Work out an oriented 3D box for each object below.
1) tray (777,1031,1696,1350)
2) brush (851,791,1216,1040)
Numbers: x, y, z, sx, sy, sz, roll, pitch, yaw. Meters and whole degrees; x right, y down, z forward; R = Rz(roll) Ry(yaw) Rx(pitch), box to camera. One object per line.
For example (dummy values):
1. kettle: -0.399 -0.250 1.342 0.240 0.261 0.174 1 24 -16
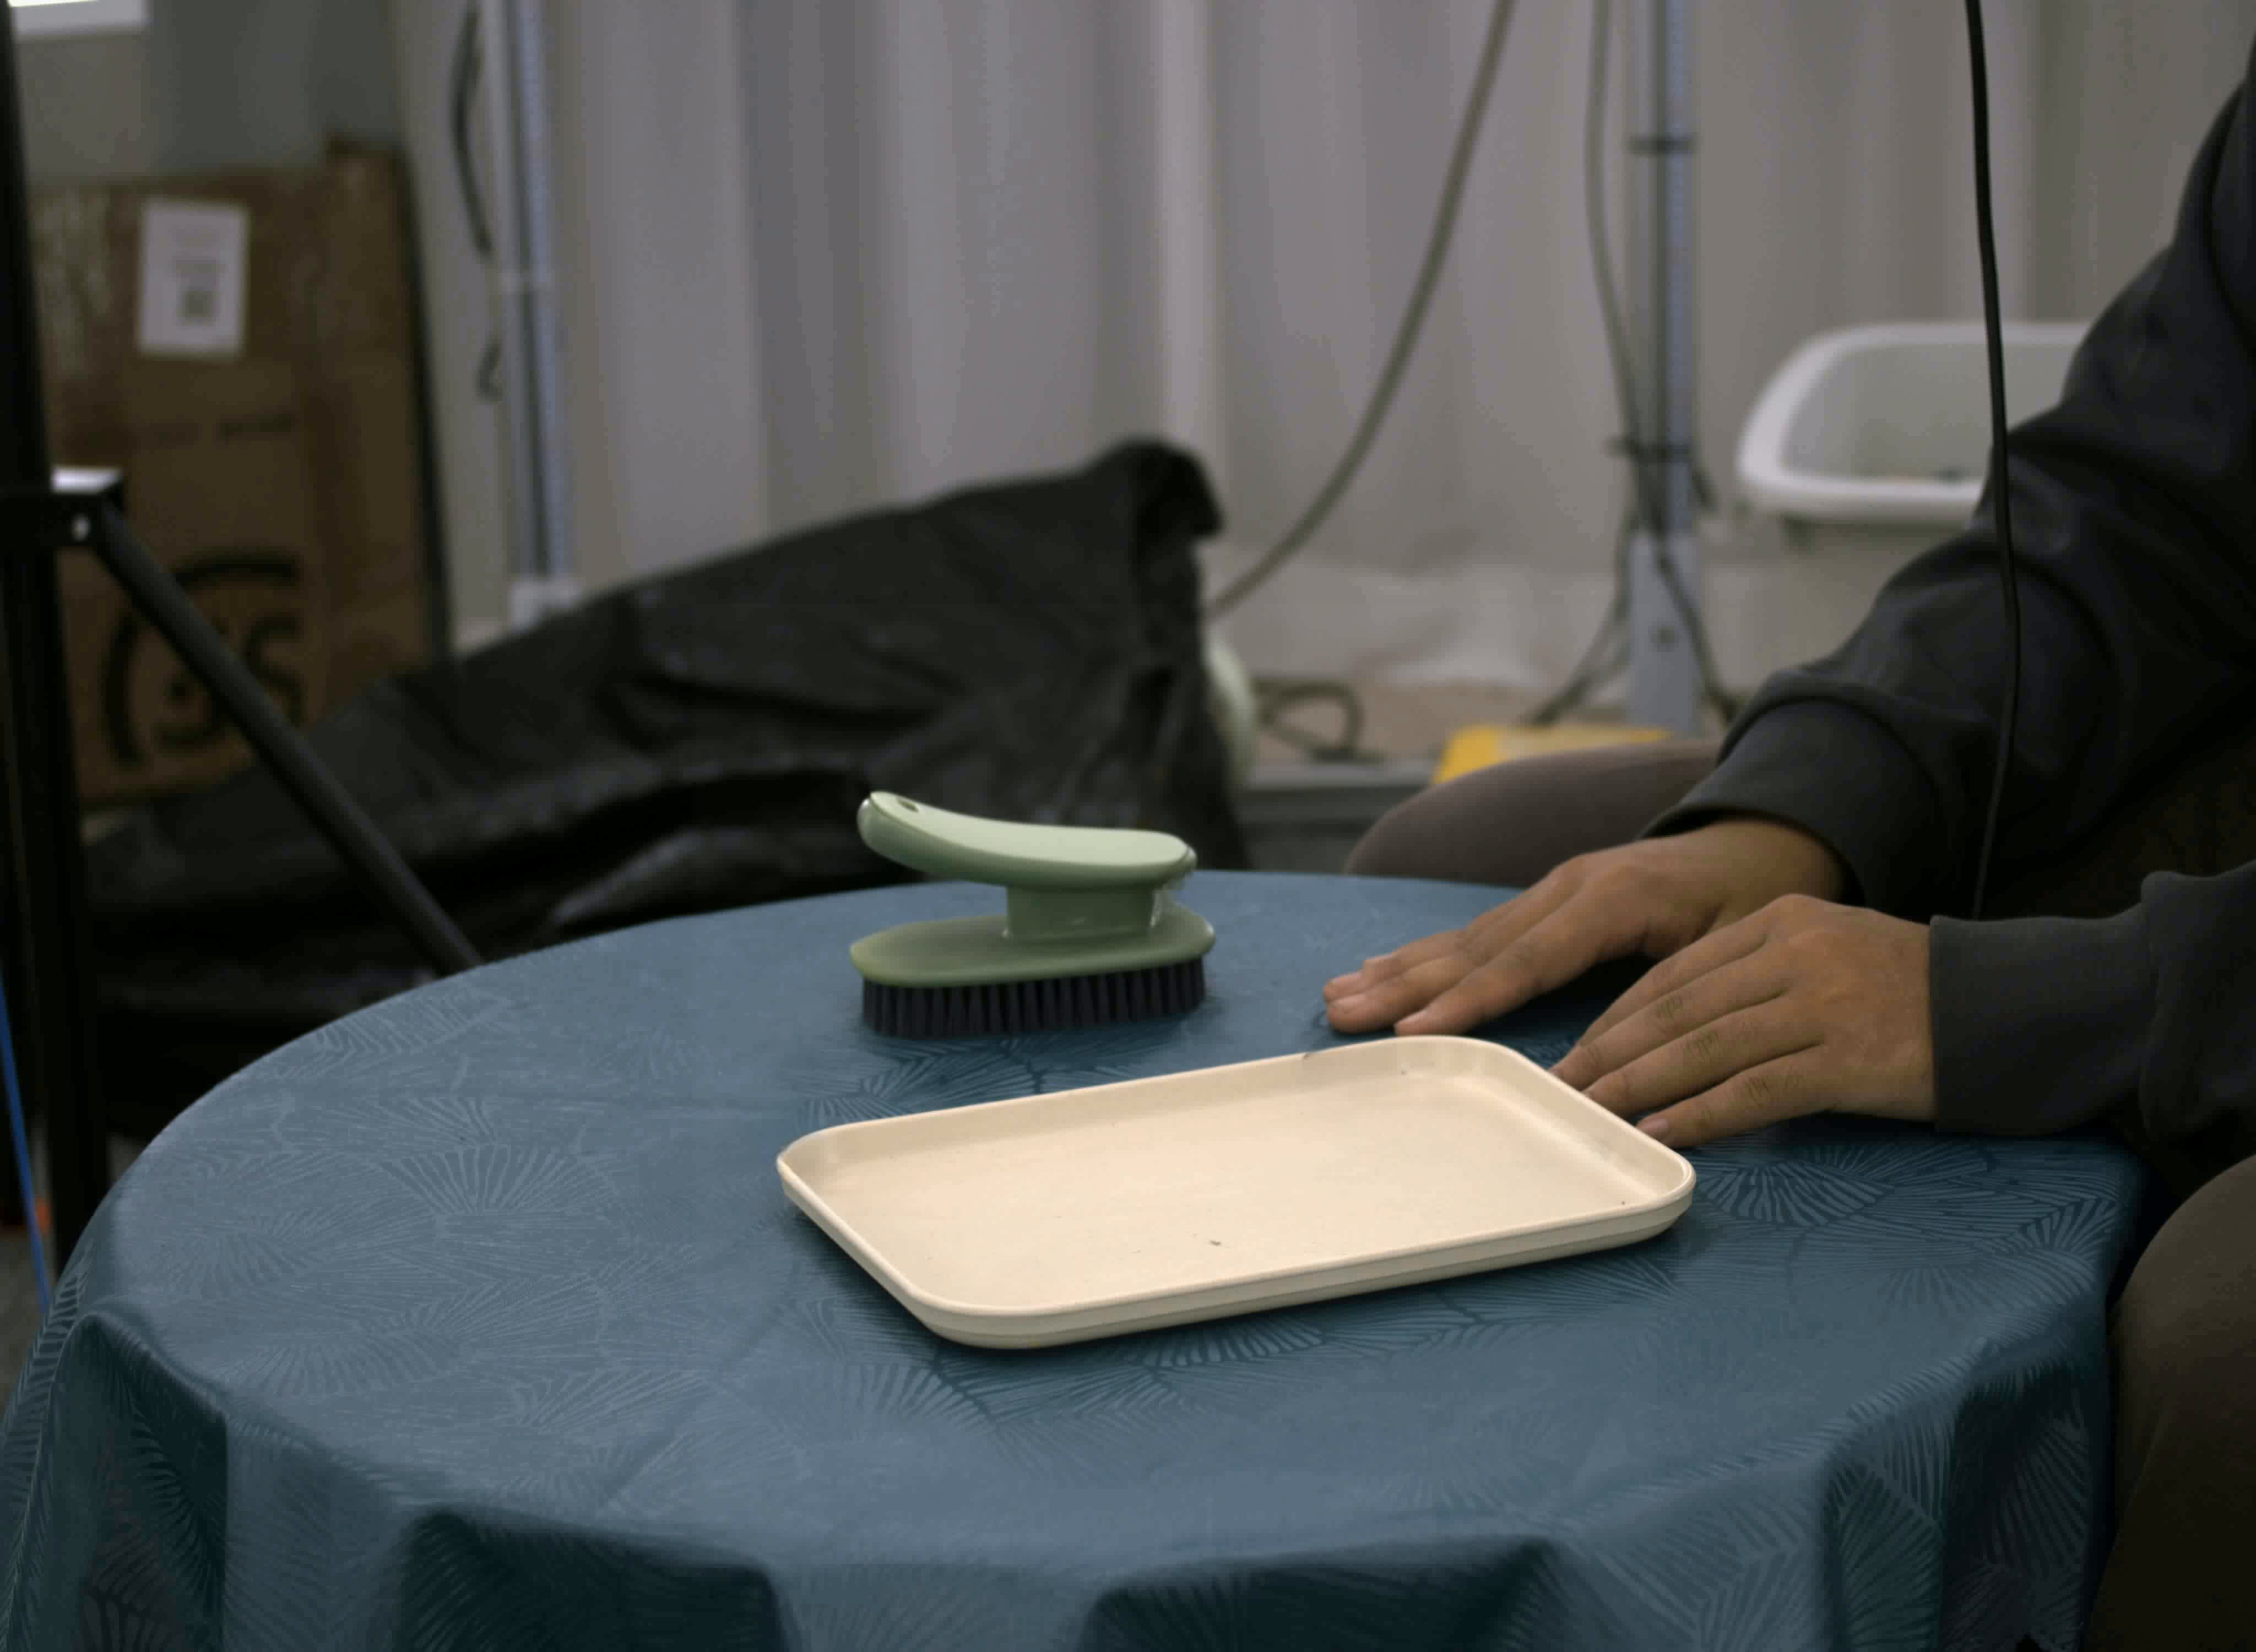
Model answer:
1. tray: 0.030 0.105 1.531 0.235 0.017 0.174 -8 17 -19
2. brush: -0.032 0.034 1.725 0.121 0.076 0.060 8 14 -14
